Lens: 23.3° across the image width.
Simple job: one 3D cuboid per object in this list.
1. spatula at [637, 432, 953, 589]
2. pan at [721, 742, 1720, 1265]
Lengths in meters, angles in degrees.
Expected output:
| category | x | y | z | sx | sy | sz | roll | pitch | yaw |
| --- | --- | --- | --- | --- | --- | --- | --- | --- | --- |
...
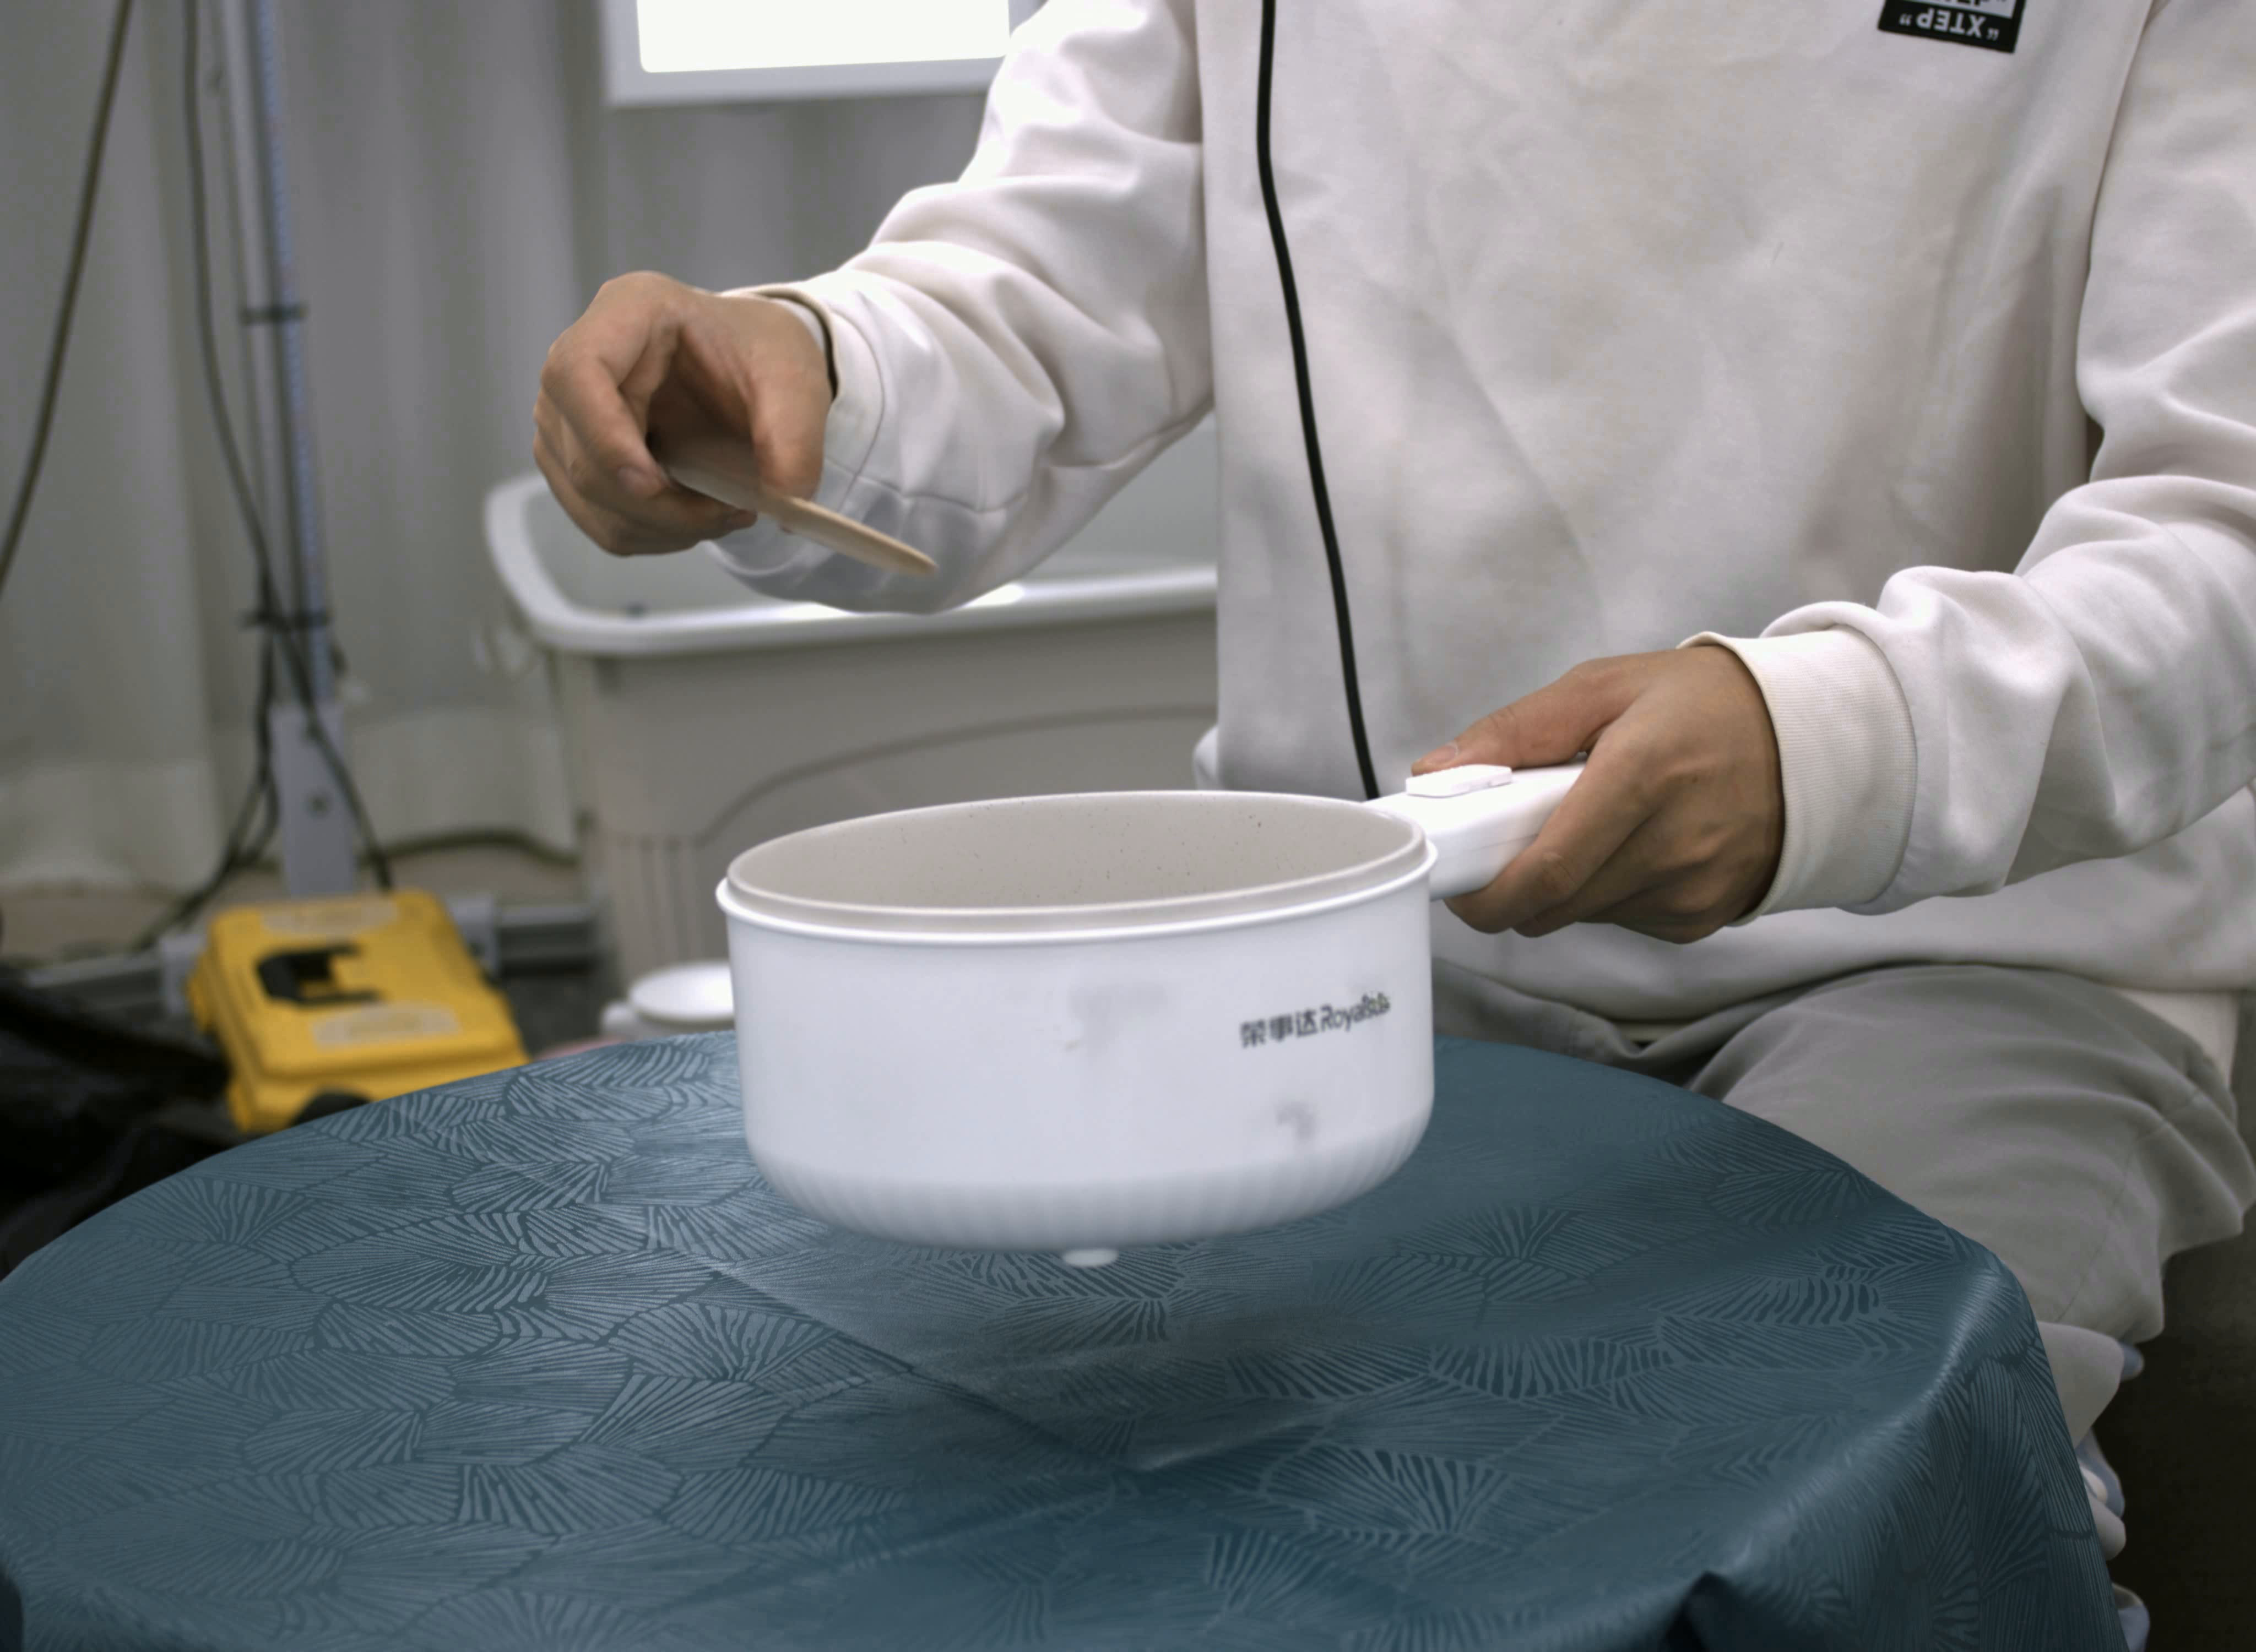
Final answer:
| category | x | y | z | sx | sy | sz | roll | pitch | yaw |
| --- | --- | --- | --- | --- | --- | --- | --- | --- | --- |
| spatula | -0.115 | -0.100 | 1.643 | 0.072 | 0.010 | 0.294 | 22 | 3 | -16 |
| pan | 0.043 | 0.045 | 1.583 | 0.353 | 0.102 | 0.202 | -11 | 11 | -44 |
